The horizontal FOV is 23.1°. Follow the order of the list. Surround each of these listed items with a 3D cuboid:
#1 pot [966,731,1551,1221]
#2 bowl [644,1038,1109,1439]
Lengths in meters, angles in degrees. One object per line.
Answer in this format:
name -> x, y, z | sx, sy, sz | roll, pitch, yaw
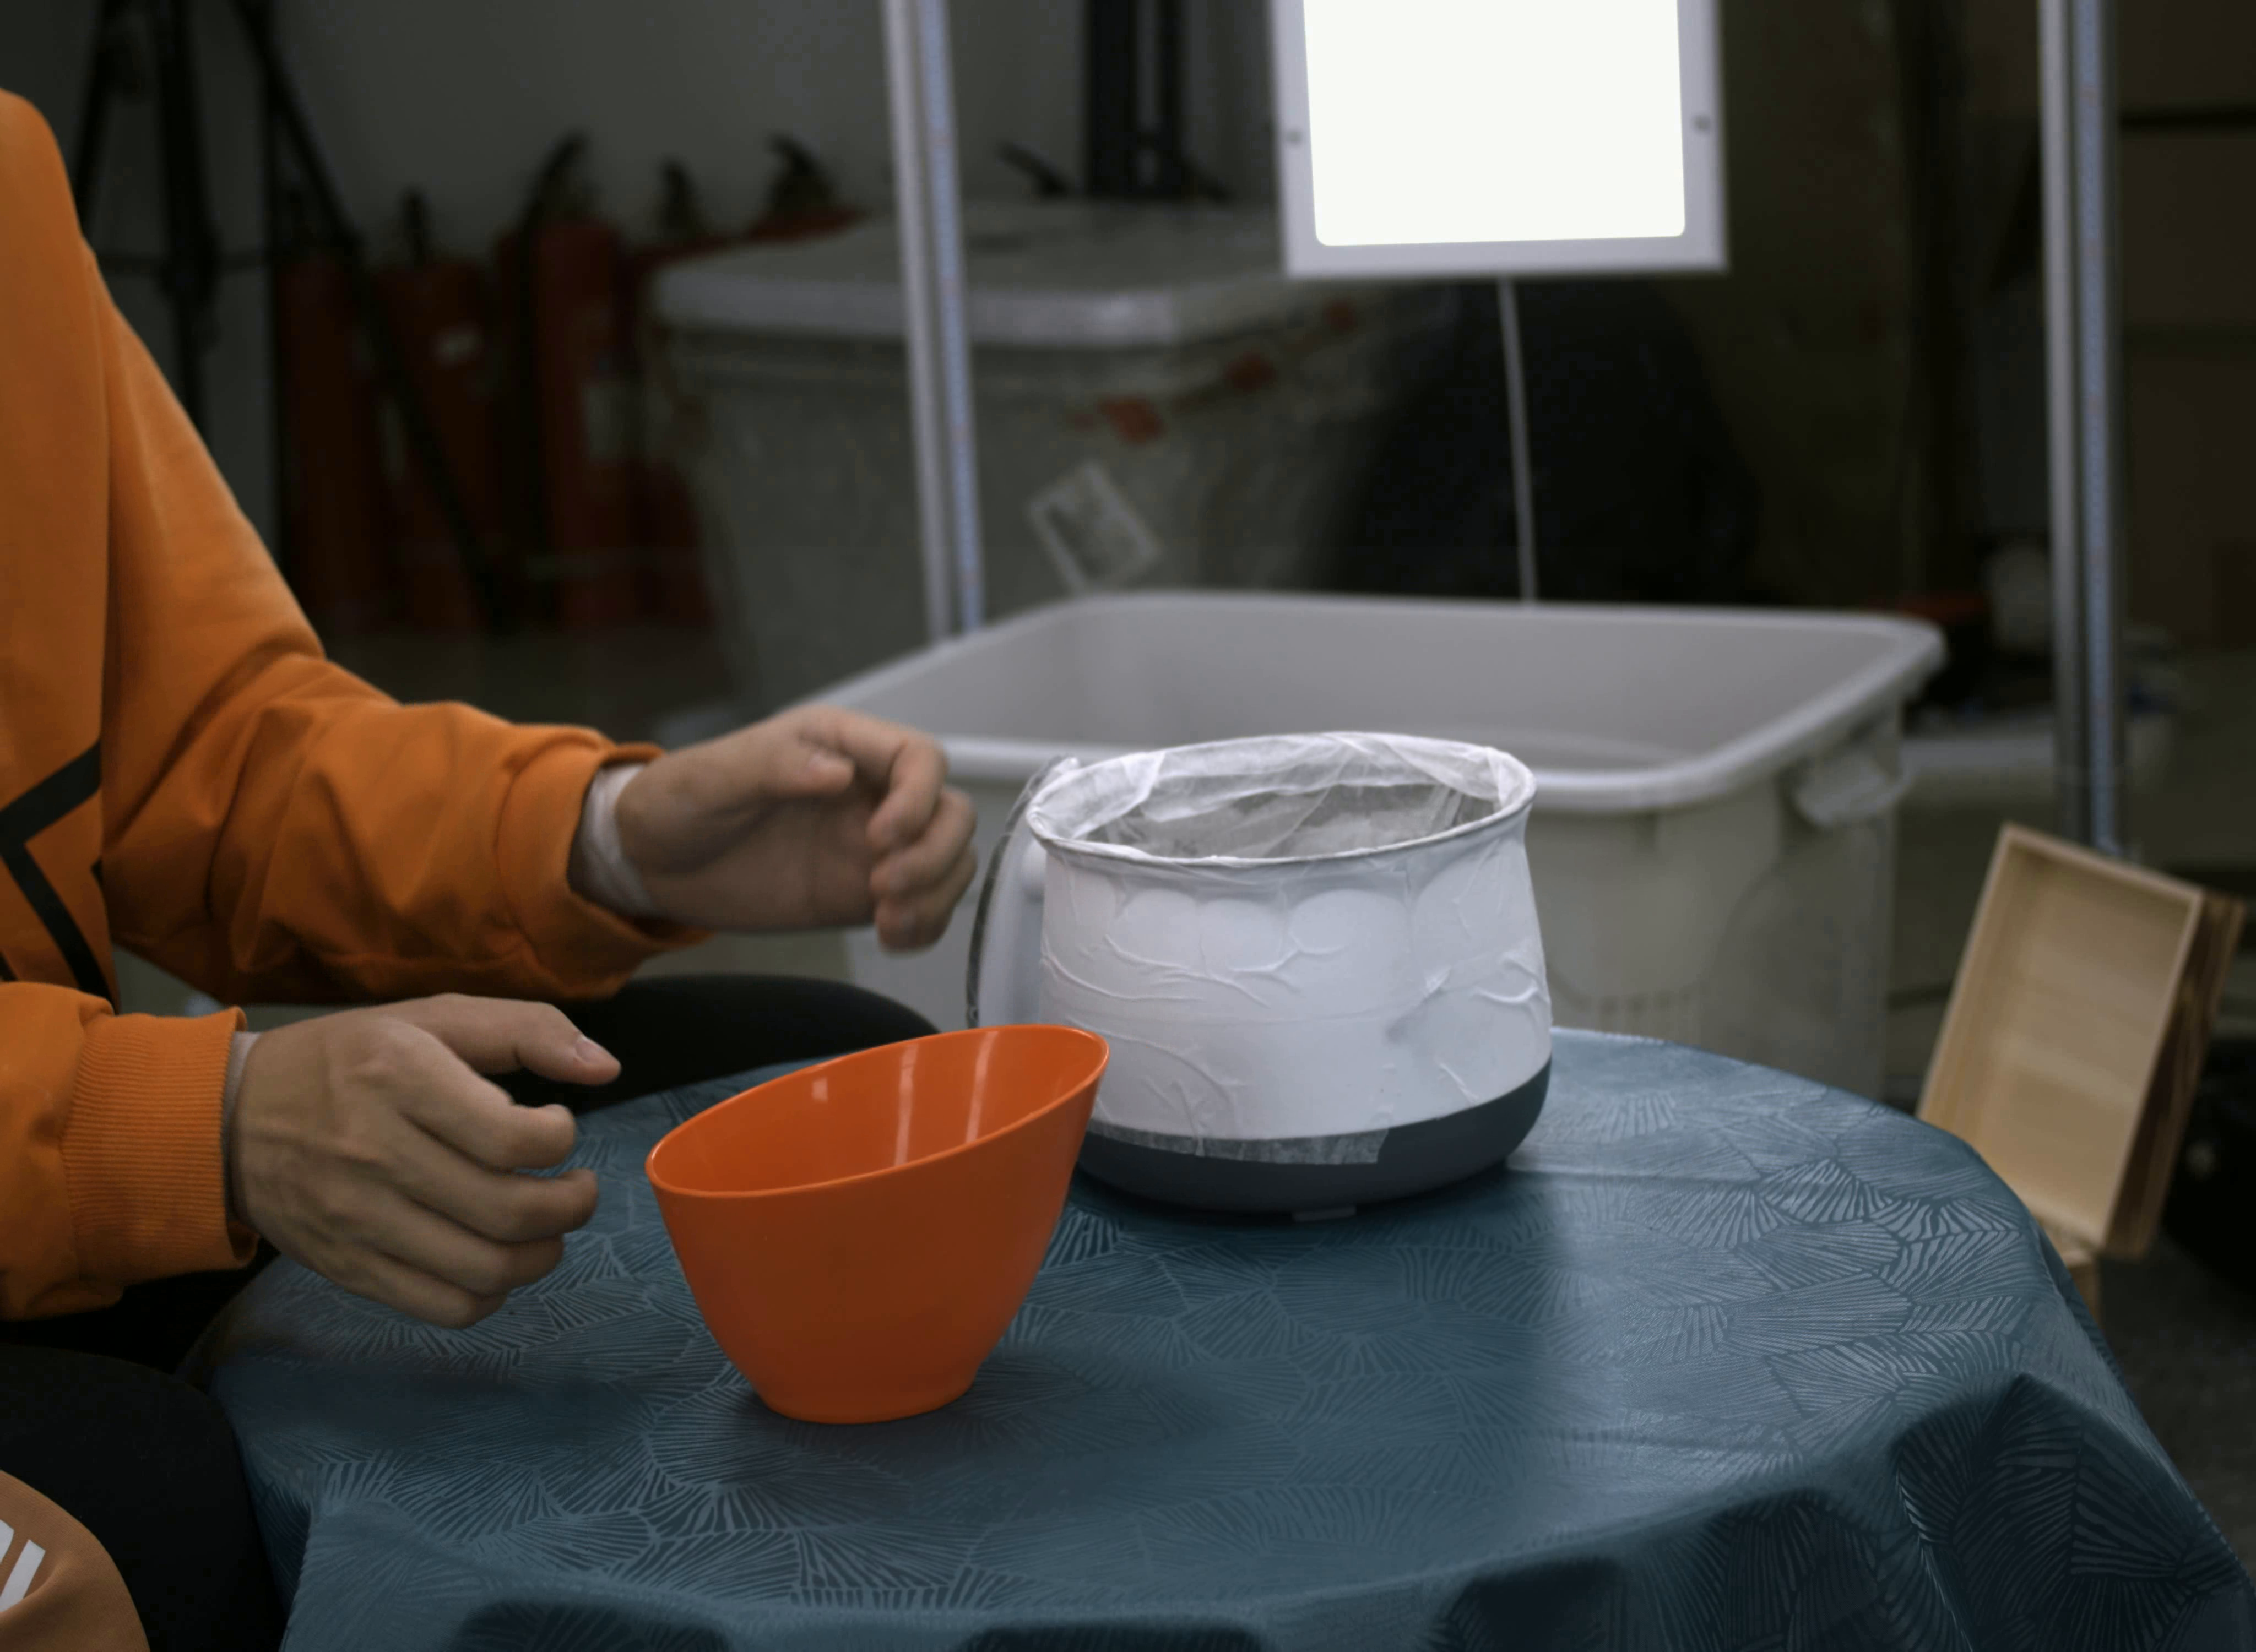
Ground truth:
pot -> 0.035, 0.047, 1.917 | 0.239, 0.137, 0.174 | 7, 18, 40
bowl -> -0.074, 0.130, 1.711 | 0.147, 0.105, 0.148 | -6, 13, 0
